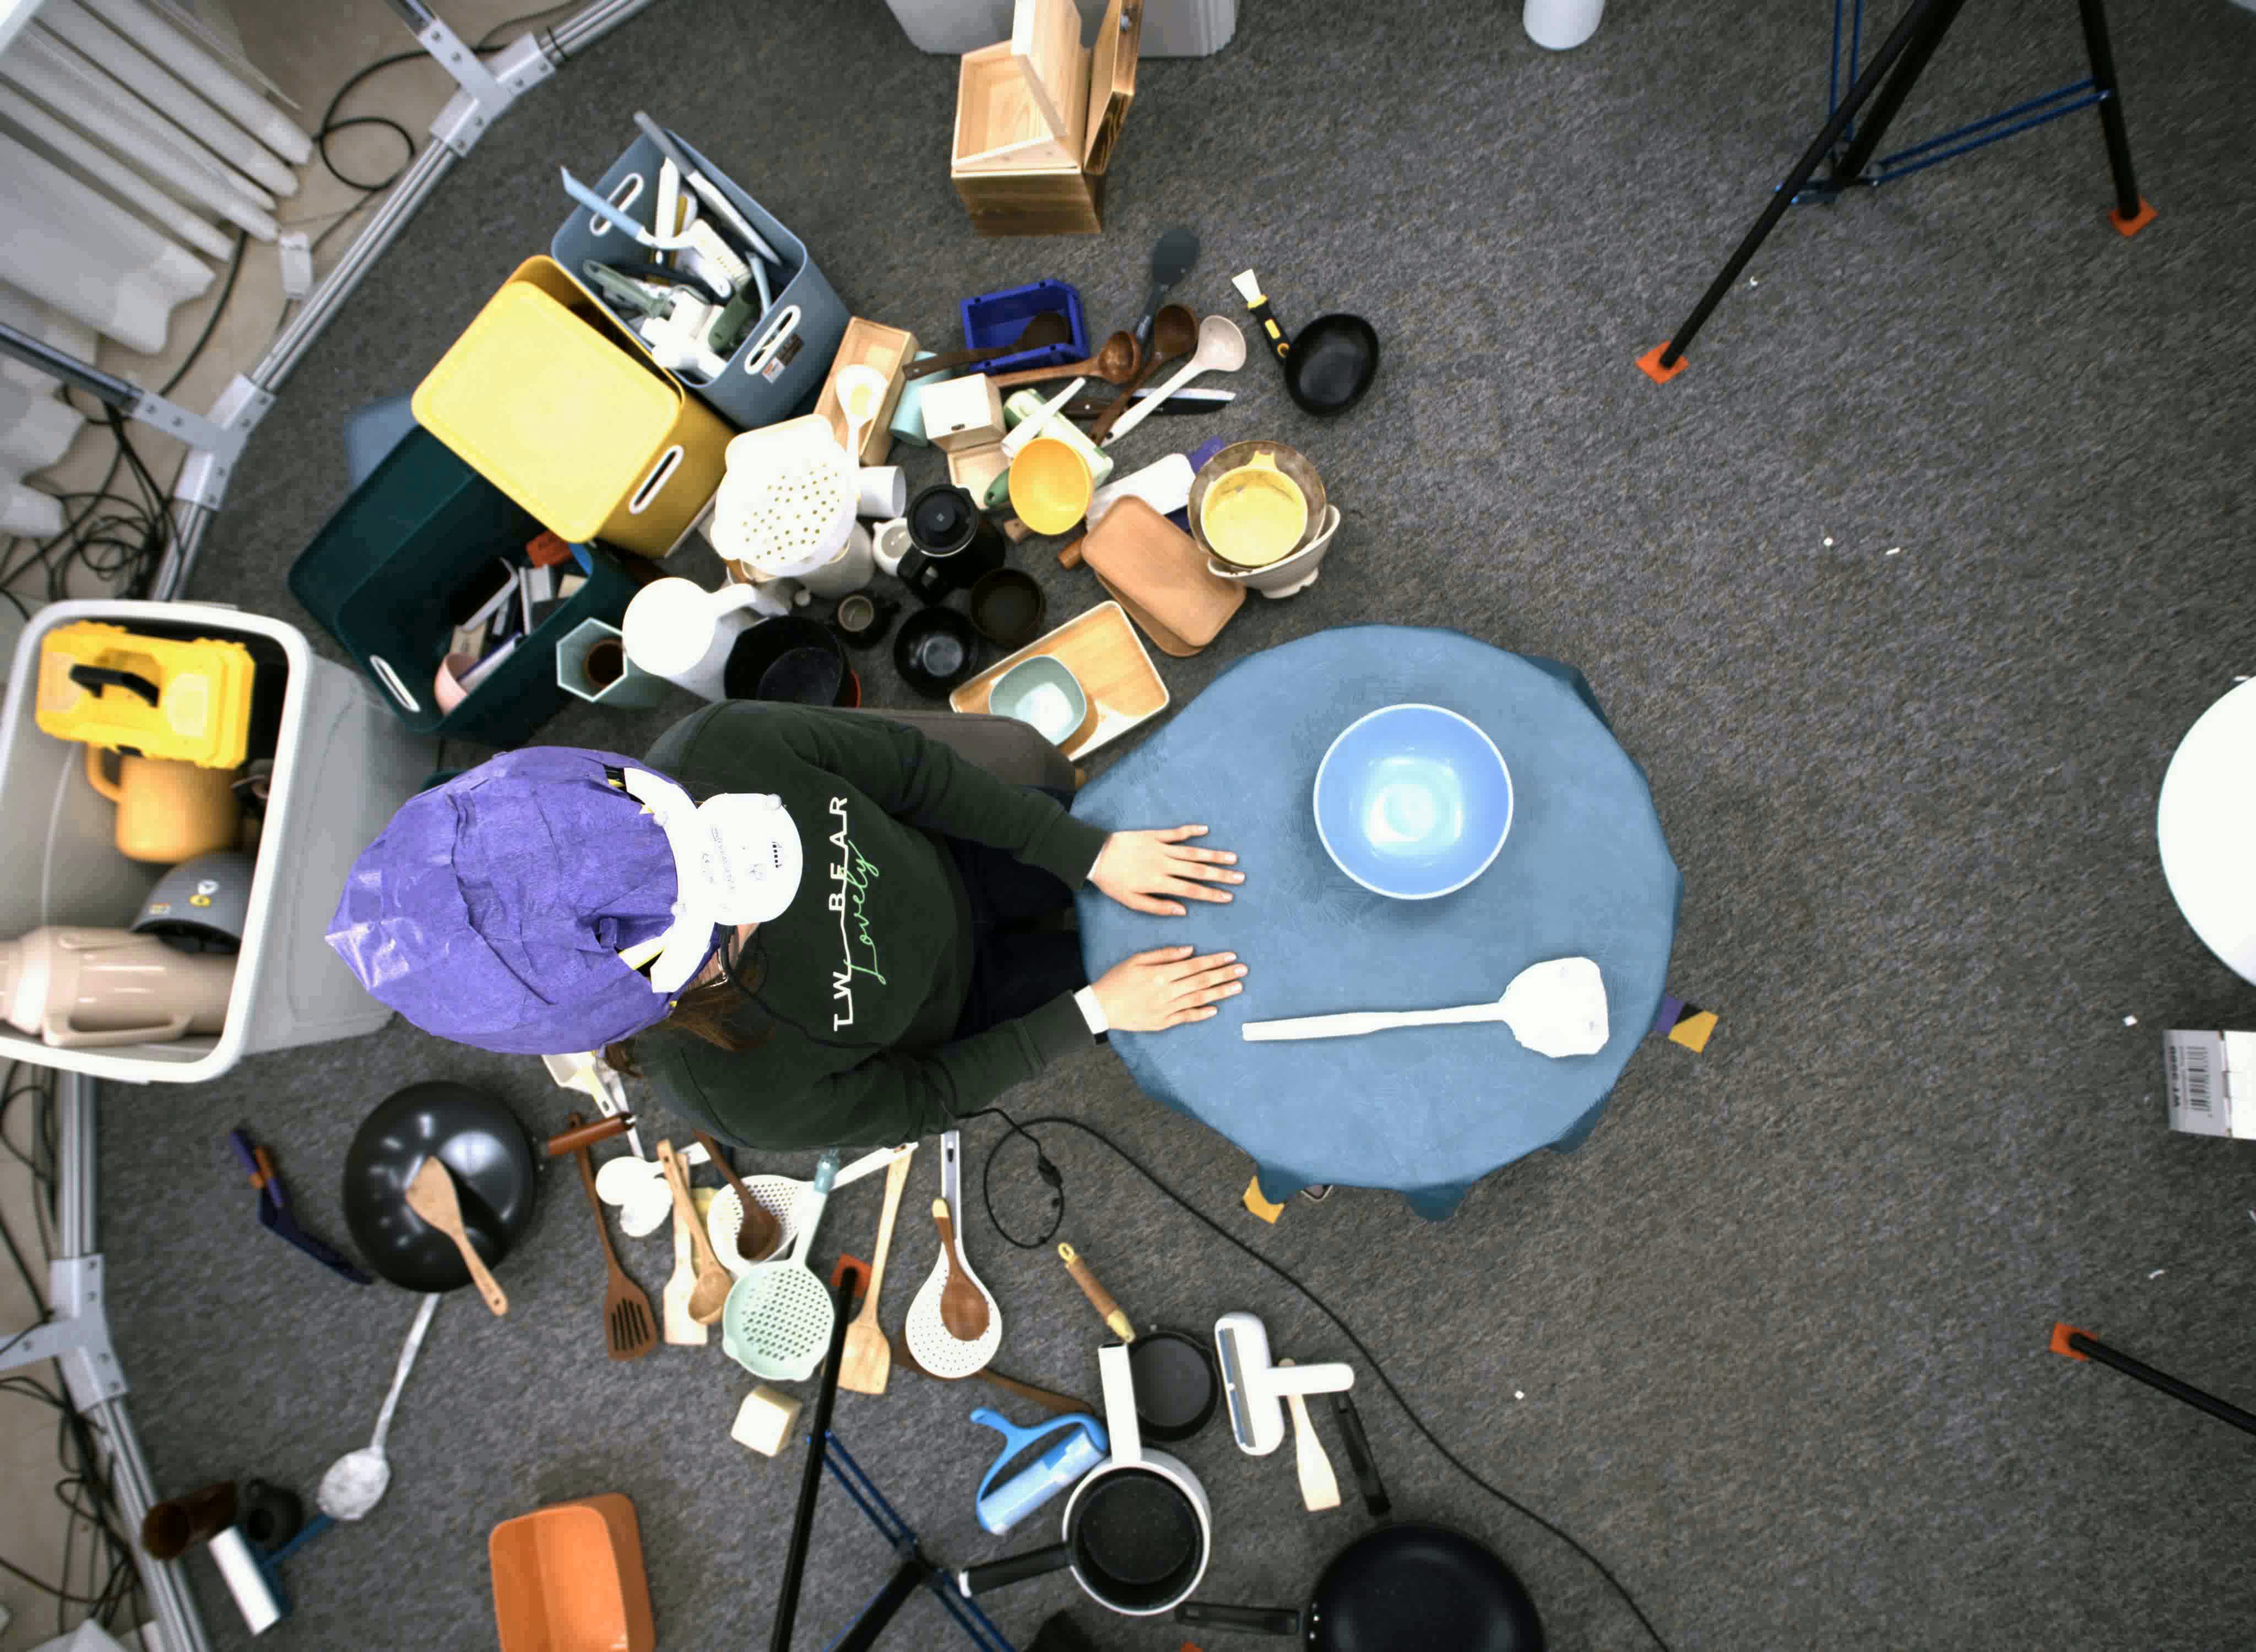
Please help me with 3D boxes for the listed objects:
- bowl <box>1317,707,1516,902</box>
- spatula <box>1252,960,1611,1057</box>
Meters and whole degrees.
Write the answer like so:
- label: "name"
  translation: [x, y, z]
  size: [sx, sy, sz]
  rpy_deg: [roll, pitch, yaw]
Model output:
- label: "bowl"
  translation: [0.294, -0.019, 1.418]
  size: [0.197, 0.095, 0.196]
  rpy_deg: [-1, 87, 9]
- label: "spatula"
  translation: [0.309, 0.195, 1.430]
  size: [0.366, 0.045, 0.098]
  rpy_deg: [-5, 87, 10]
